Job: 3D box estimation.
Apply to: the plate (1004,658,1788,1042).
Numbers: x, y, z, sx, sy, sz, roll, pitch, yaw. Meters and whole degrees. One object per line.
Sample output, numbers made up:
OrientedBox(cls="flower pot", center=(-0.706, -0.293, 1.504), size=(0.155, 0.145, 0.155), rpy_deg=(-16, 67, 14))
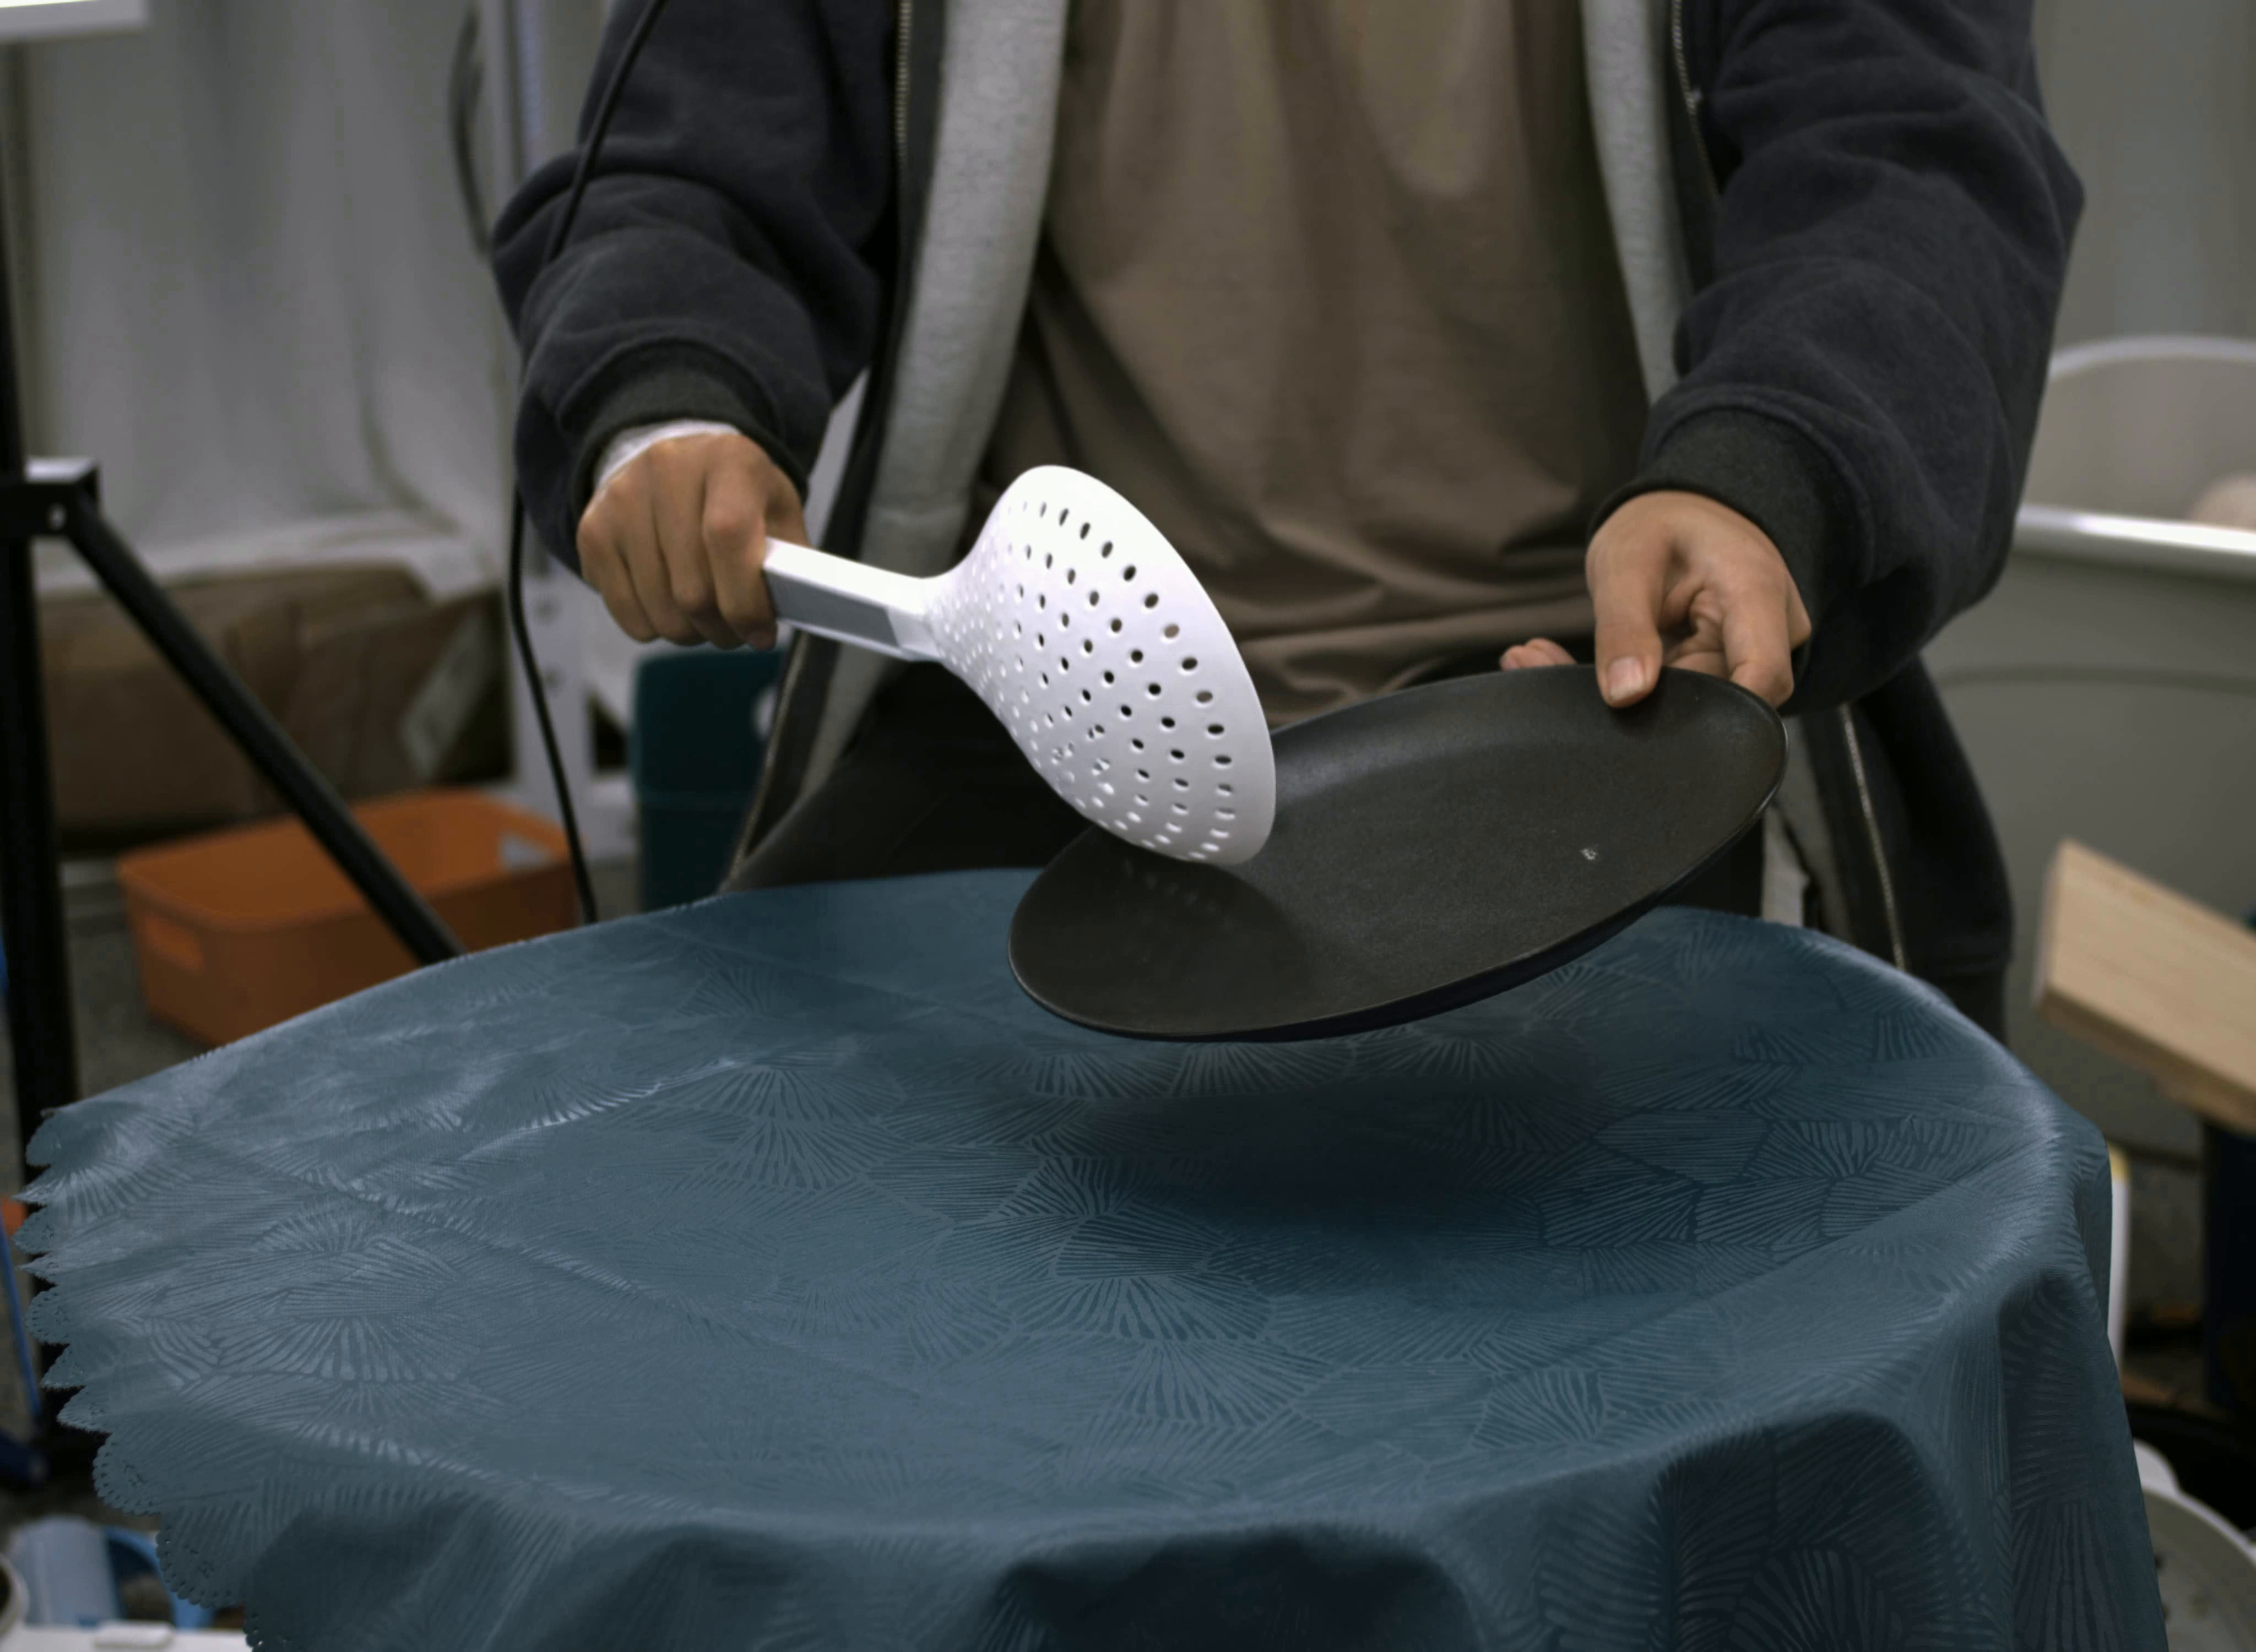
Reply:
OrientedBox(cls="plate", center=(0.082, 0.012, 1.596), size=(0.244, 0.023, 0.246), rpy_deg=(-16, 21, 5))

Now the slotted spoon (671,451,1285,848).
OrientedBox(cls="slotted spoon", center=(-0.059, -0.067, 1.717), size=(0.045, 0.135, 0.357), rpy_deg=(-29, 23, -20))
